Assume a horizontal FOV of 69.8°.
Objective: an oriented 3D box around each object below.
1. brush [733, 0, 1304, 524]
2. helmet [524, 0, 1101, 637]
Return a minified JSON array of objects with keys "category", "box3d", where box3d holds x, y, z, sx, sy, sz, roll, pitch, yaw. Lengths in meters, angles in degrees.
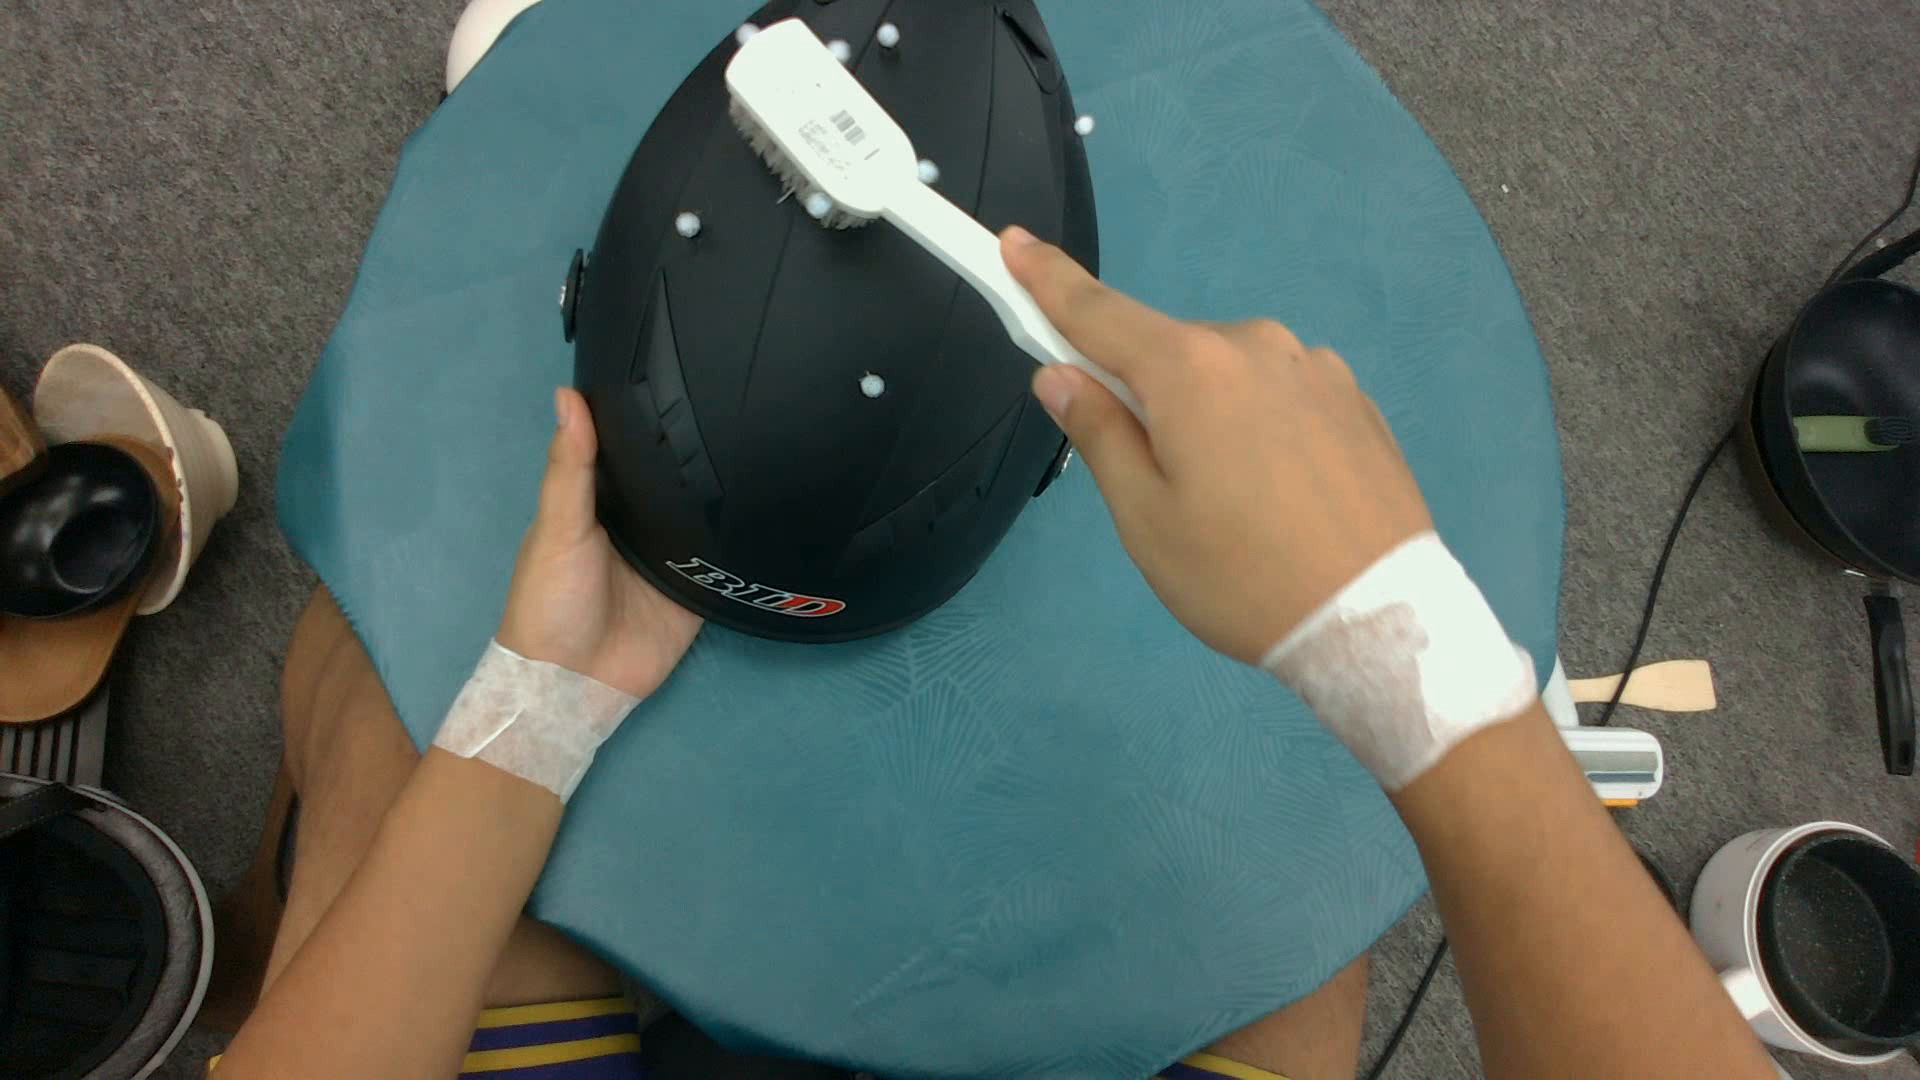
[{"category":"brush","box3d":[0.012,-0.087,0.439,0.034,0.050,0.244,-42,76,-12]},{"category":"helmet","box3d":[-0.051,-0.111,0.572,0.247,0.172,0.277,19,69,-9]}]
